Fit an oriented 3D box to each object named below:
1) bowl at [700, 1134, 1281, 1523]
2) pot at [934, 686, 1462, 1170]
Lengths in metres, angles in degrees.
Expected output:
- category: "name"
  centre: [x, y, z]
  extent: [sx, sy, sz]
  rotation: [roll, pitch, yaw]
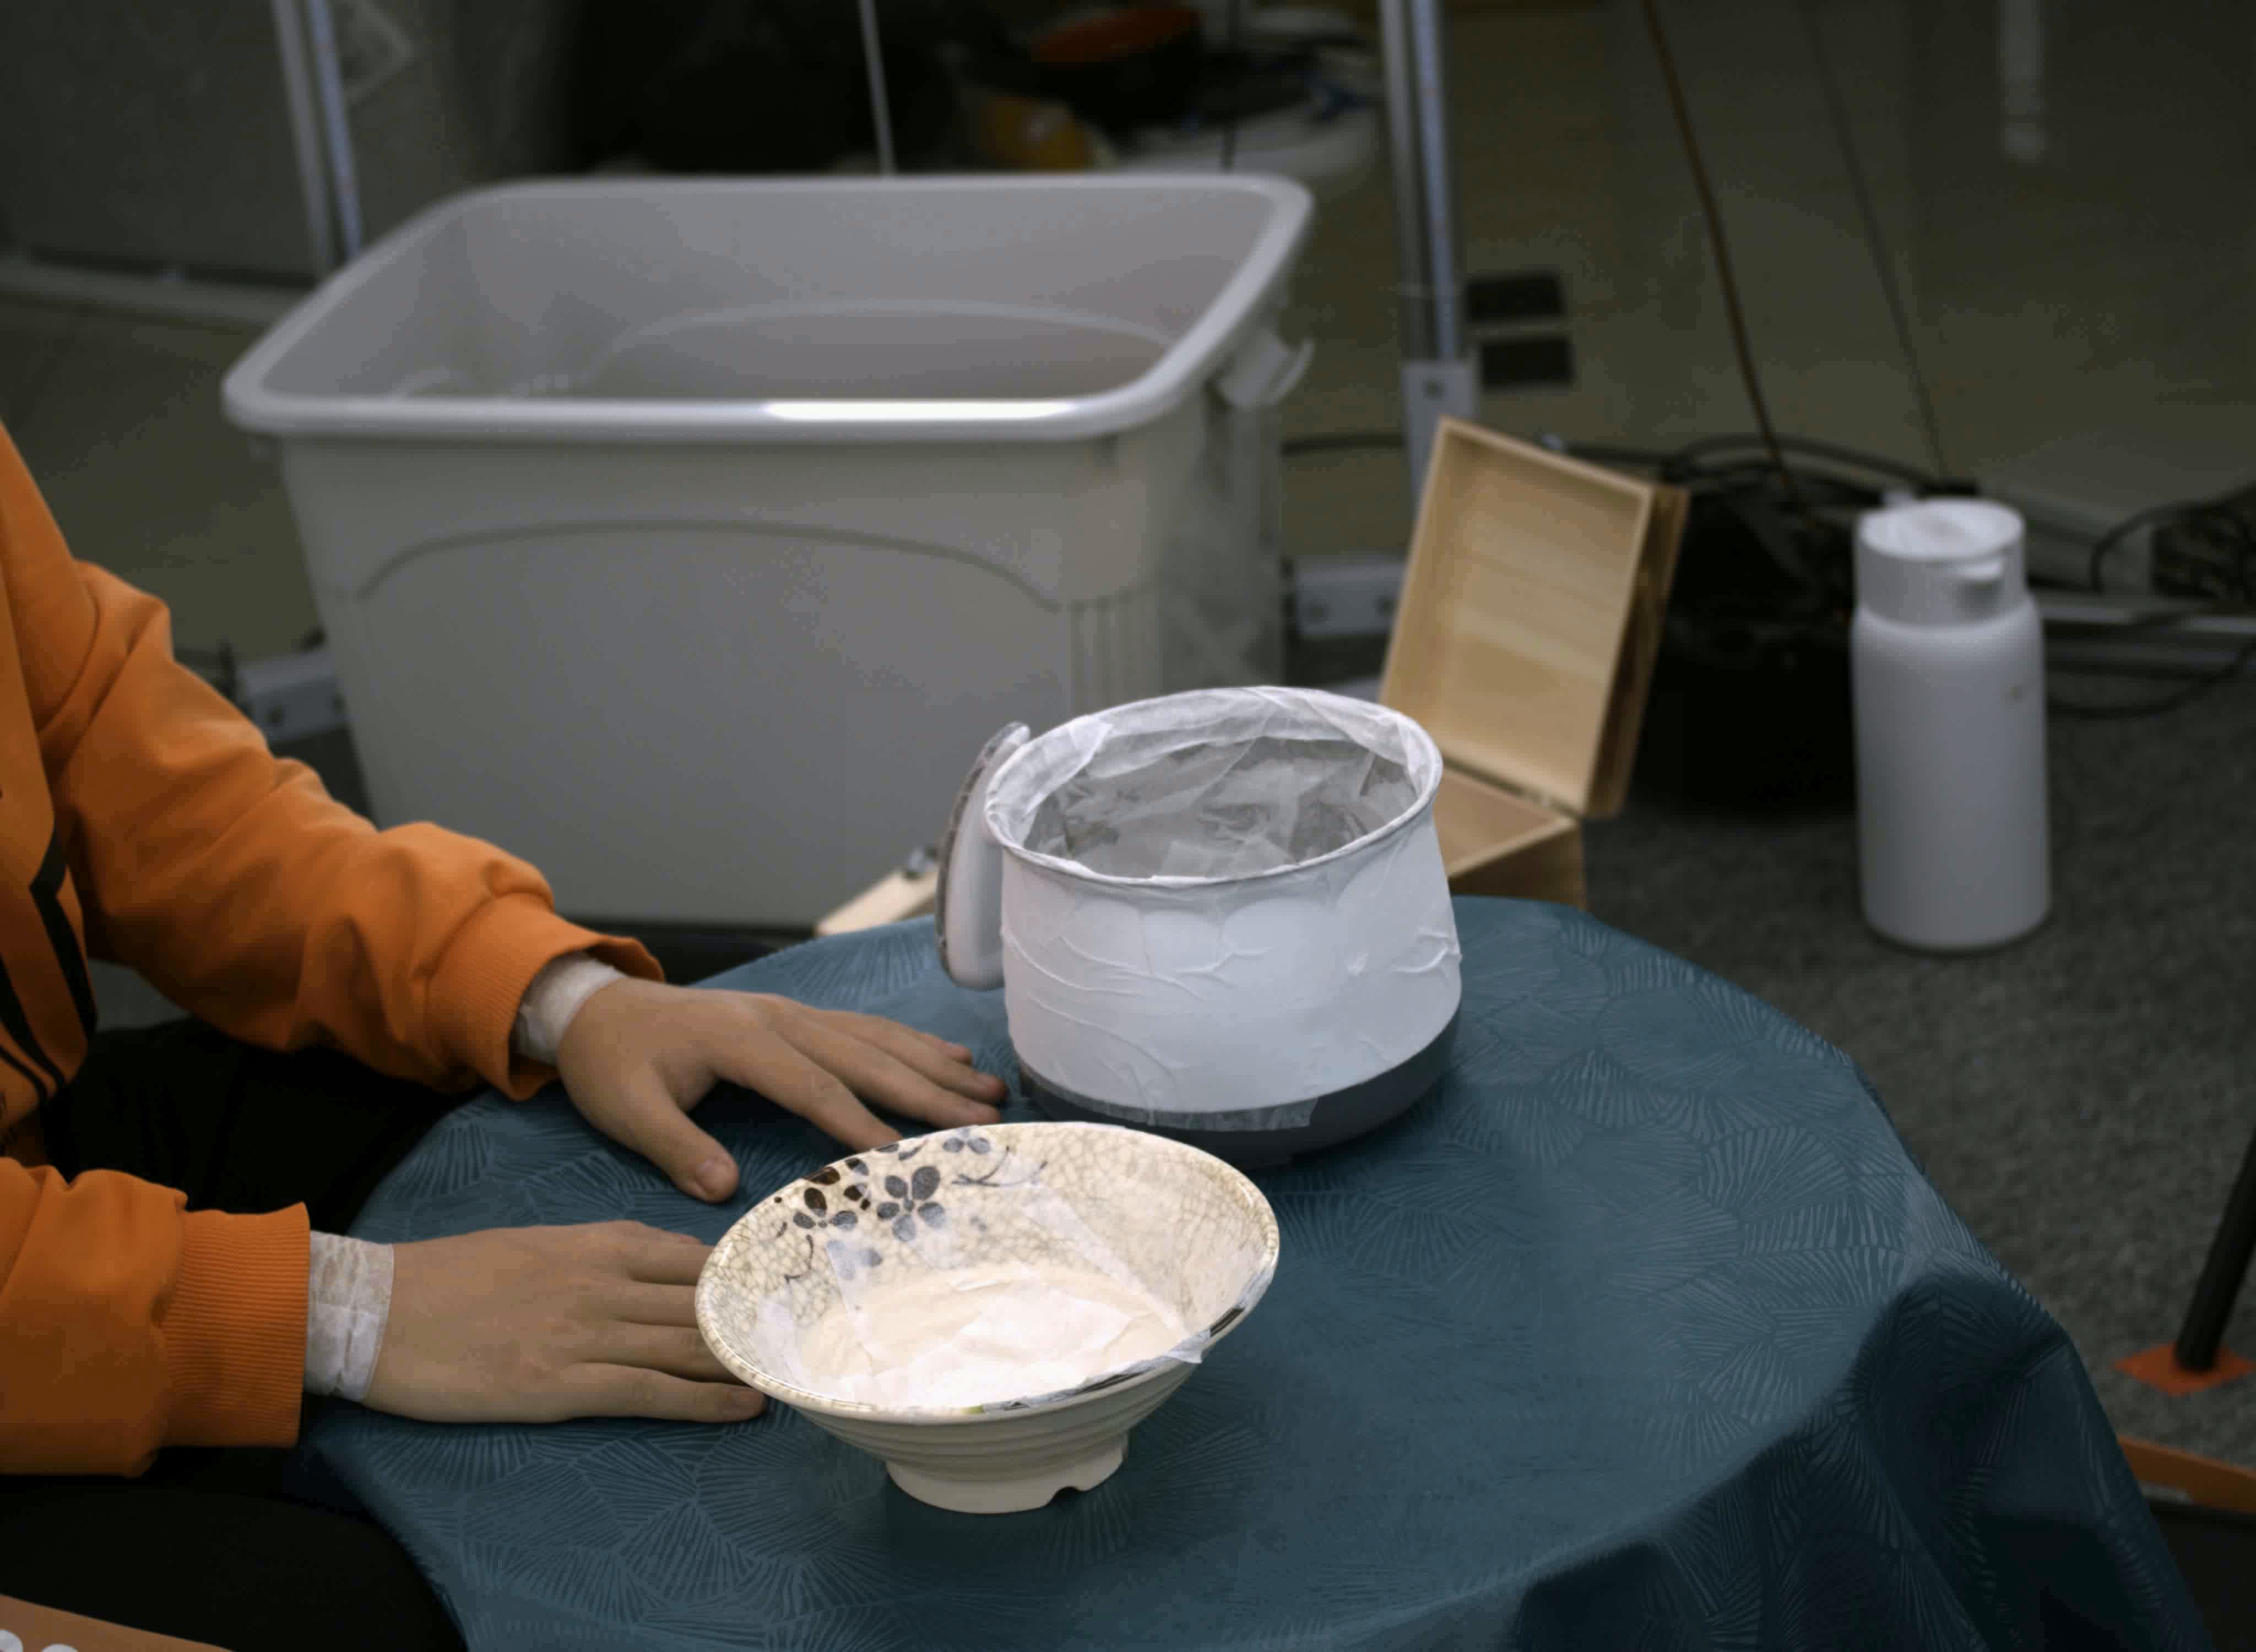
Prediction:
- category: "bowl"
  centre: [-0.042, 0.186, 1.970]
  extent: [0.204, 0.079, 0.201]
  rotation: [-9, 24, 4]
- category: "pot"
  centre: [0.017, 0.035, 2.200]
  extent: [0.232, 0.139, 0.177]
  rotation: [13, 31, 36]
